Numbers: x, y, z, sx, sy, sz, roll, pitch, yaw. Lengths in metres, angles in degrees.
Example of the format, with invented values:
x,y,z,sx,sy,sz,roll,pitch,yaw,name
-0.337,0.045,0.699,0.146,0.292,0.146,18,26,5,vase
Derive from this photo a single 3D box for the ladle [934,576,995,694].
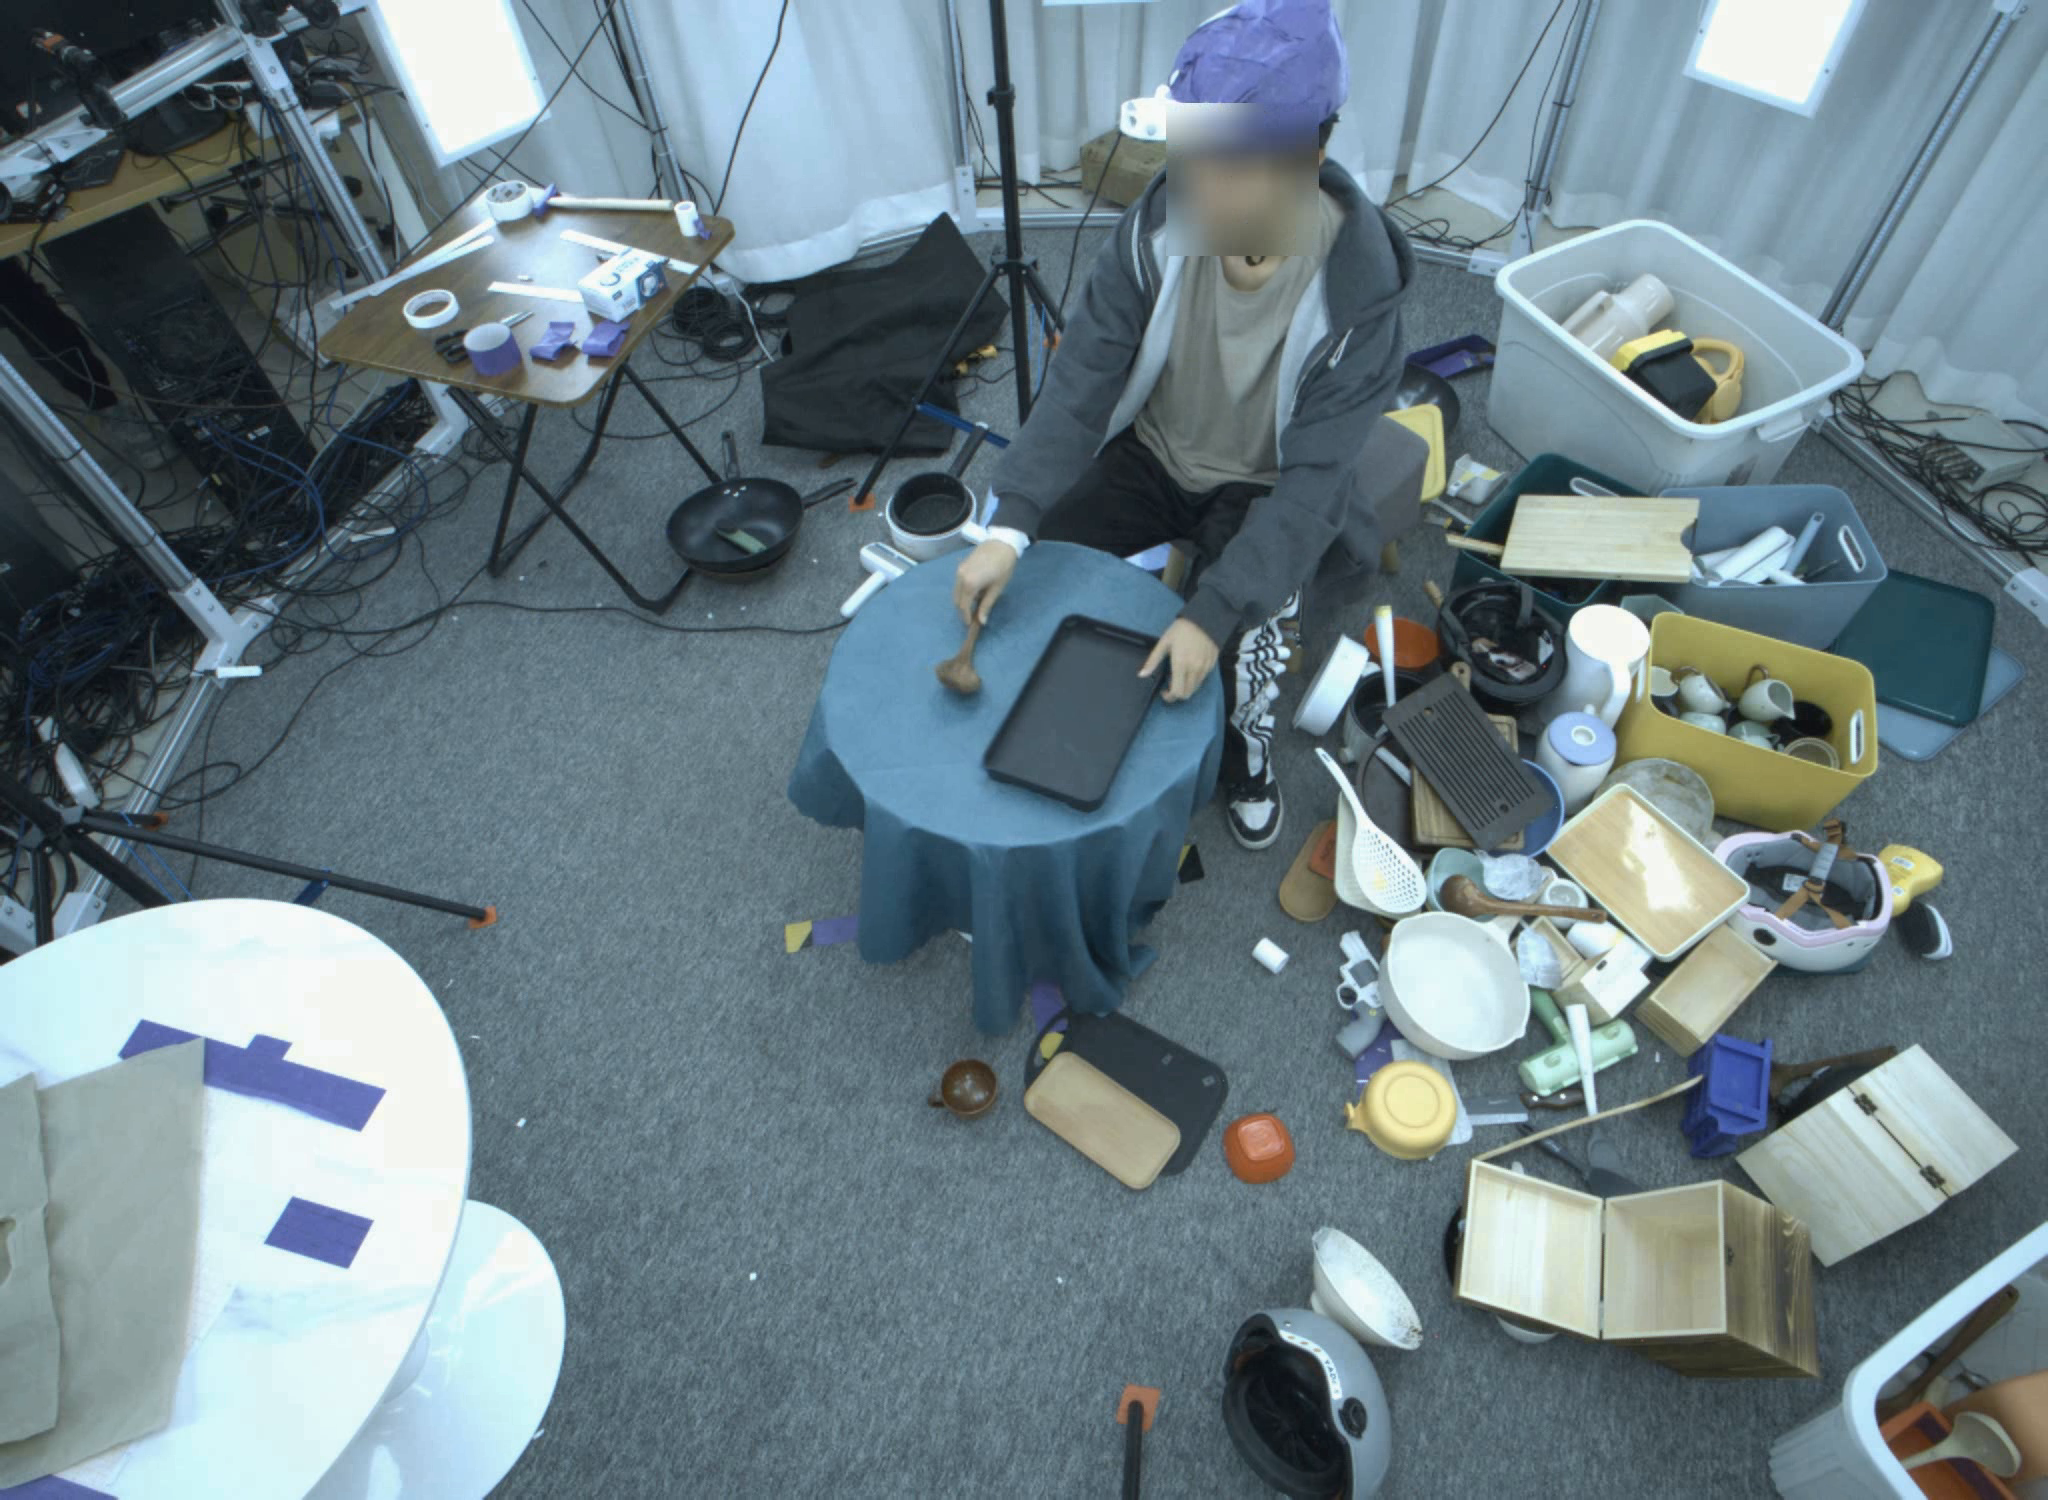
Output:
x,y,z,sx,sy,sz,roll,pitch,yaw,name
-0.077,-0.187,1.887,0.077,0.065,0.259,25,55,-12,ladle

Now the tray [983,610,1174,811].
x,y,z,sx,sy,sz,roll,pitch,yaw,name
0.084,-0.064,1.807,0.182,0.037,0.318,19,59,15,tray
